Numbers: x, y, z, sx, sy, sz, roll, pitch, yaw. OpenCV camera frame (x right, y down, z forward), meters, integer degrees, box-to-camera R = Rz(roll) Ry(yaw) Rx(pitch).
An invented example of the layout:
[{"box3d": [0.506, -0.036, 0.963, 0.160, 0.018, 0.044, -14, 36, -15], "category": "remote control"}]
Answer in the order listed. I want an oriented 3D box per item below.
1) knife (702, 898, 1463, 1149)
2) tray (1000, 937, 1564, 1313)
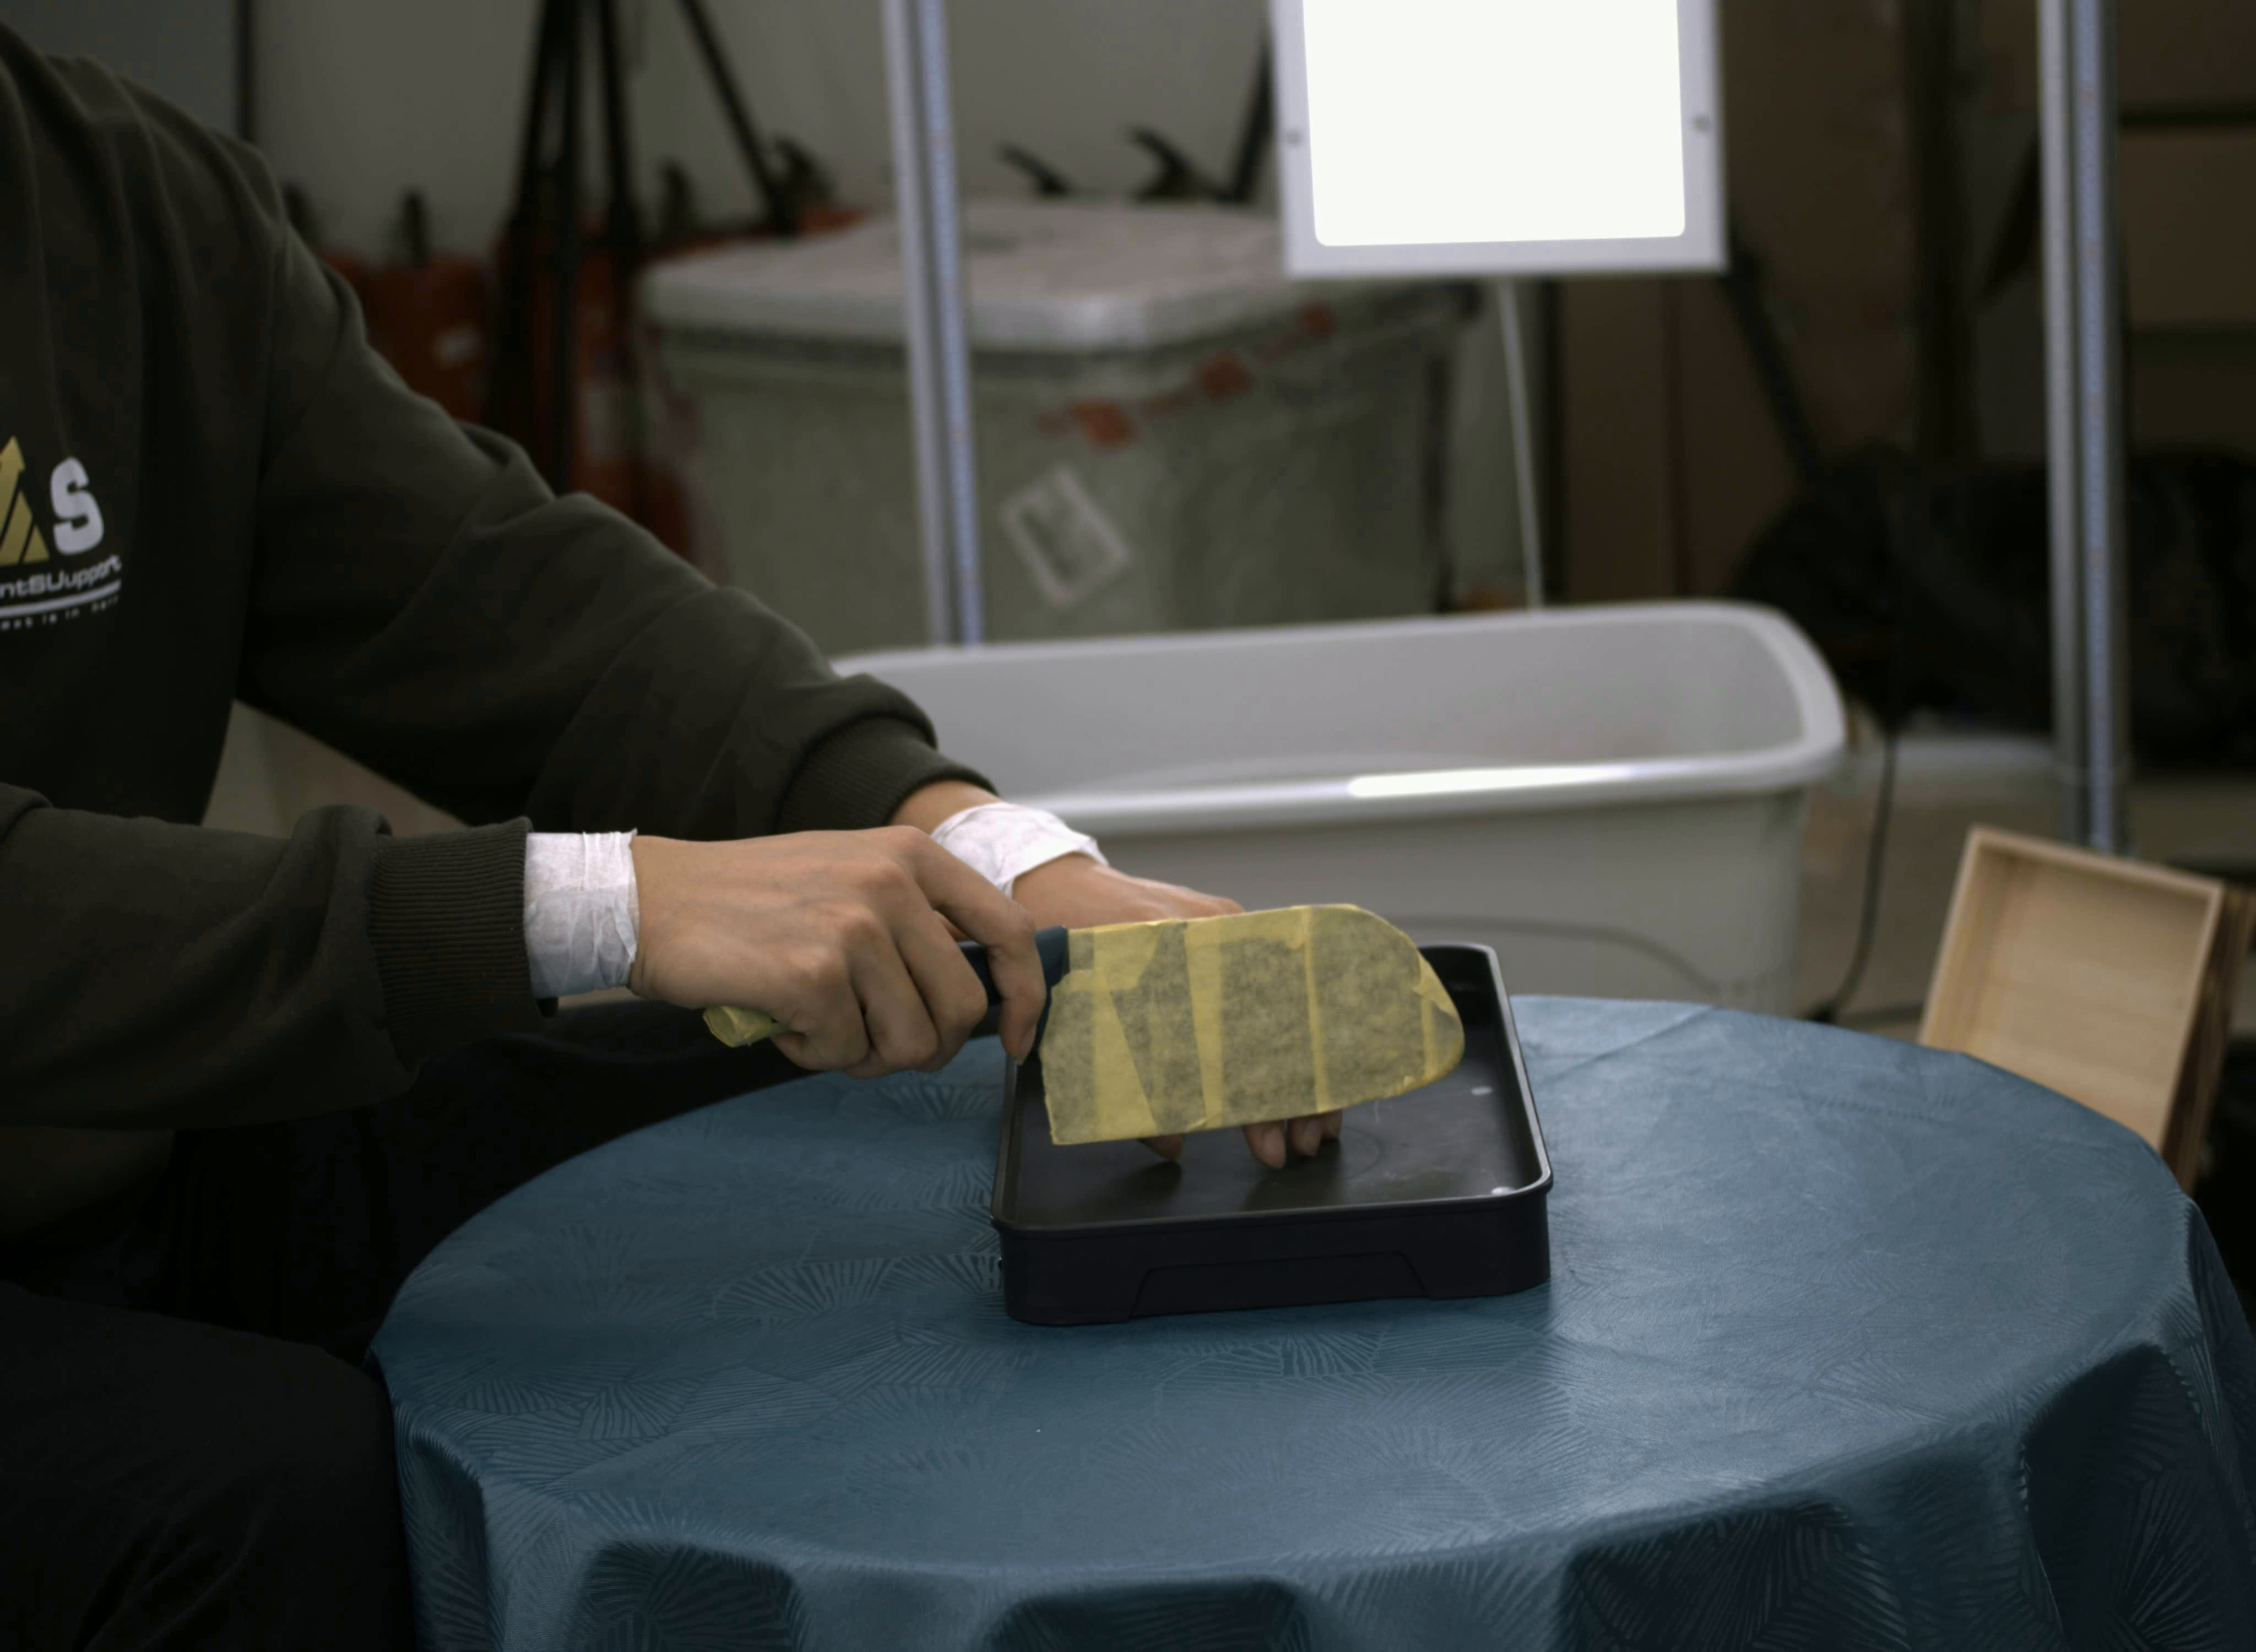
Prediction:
[{"box3d": [-0.010, 0.068, 1.864, 0.283, 0.081, 0.028, -2, -4, -25], "category": "knife"}, {"box3d": [0.048, 0.100, 1.915, 0.184, 0.037, 0.317, -5, 13, 0], "category": "tray"}]
